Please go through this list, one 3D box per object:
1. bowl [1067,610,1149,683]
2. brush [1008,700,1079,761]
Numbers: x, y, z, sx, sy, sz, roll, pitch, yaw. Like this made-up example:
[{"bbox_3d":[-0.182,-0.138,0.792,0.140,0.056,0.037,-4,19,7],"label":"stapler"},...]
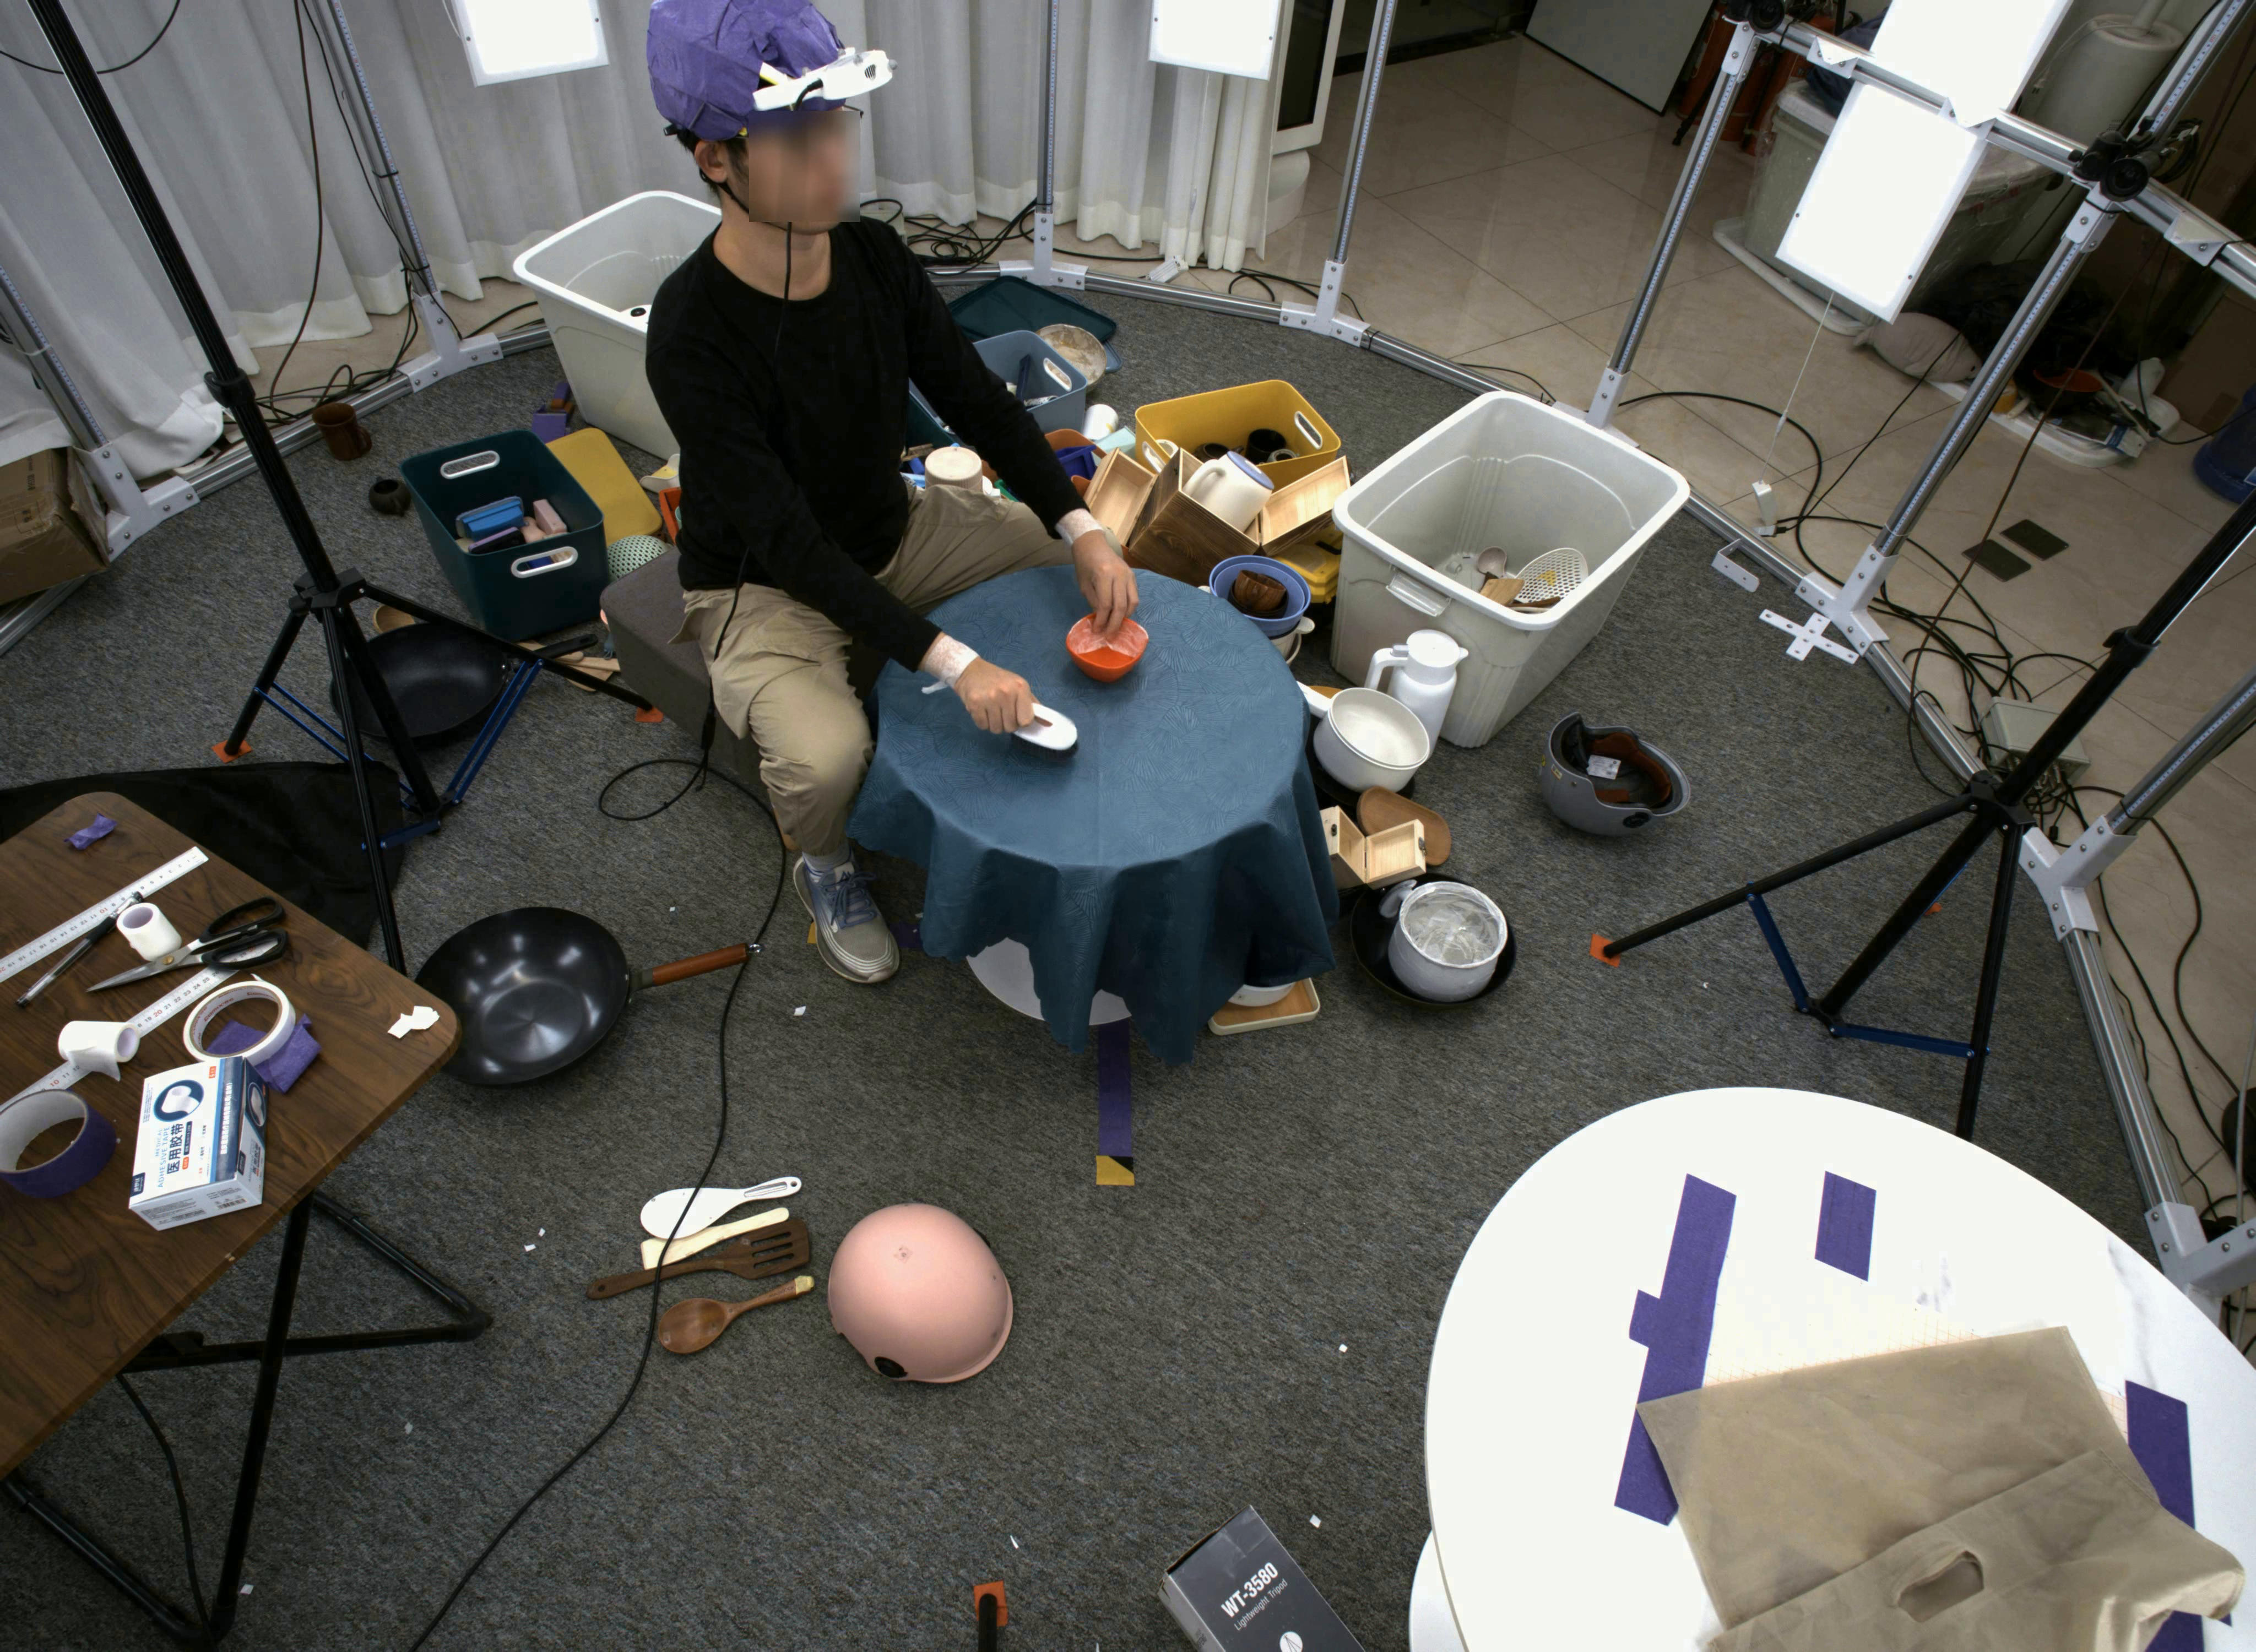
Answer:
[{"bbox_3d":[-0.031,-0.253,1.852,0.119,0.050,0.122,3,52,-4],"label":"bowl"},{"bbox_3d":[-0.115,-0.135,1.711,0.100,0.071,0.051,24,63,19],"label":"brush"}]
